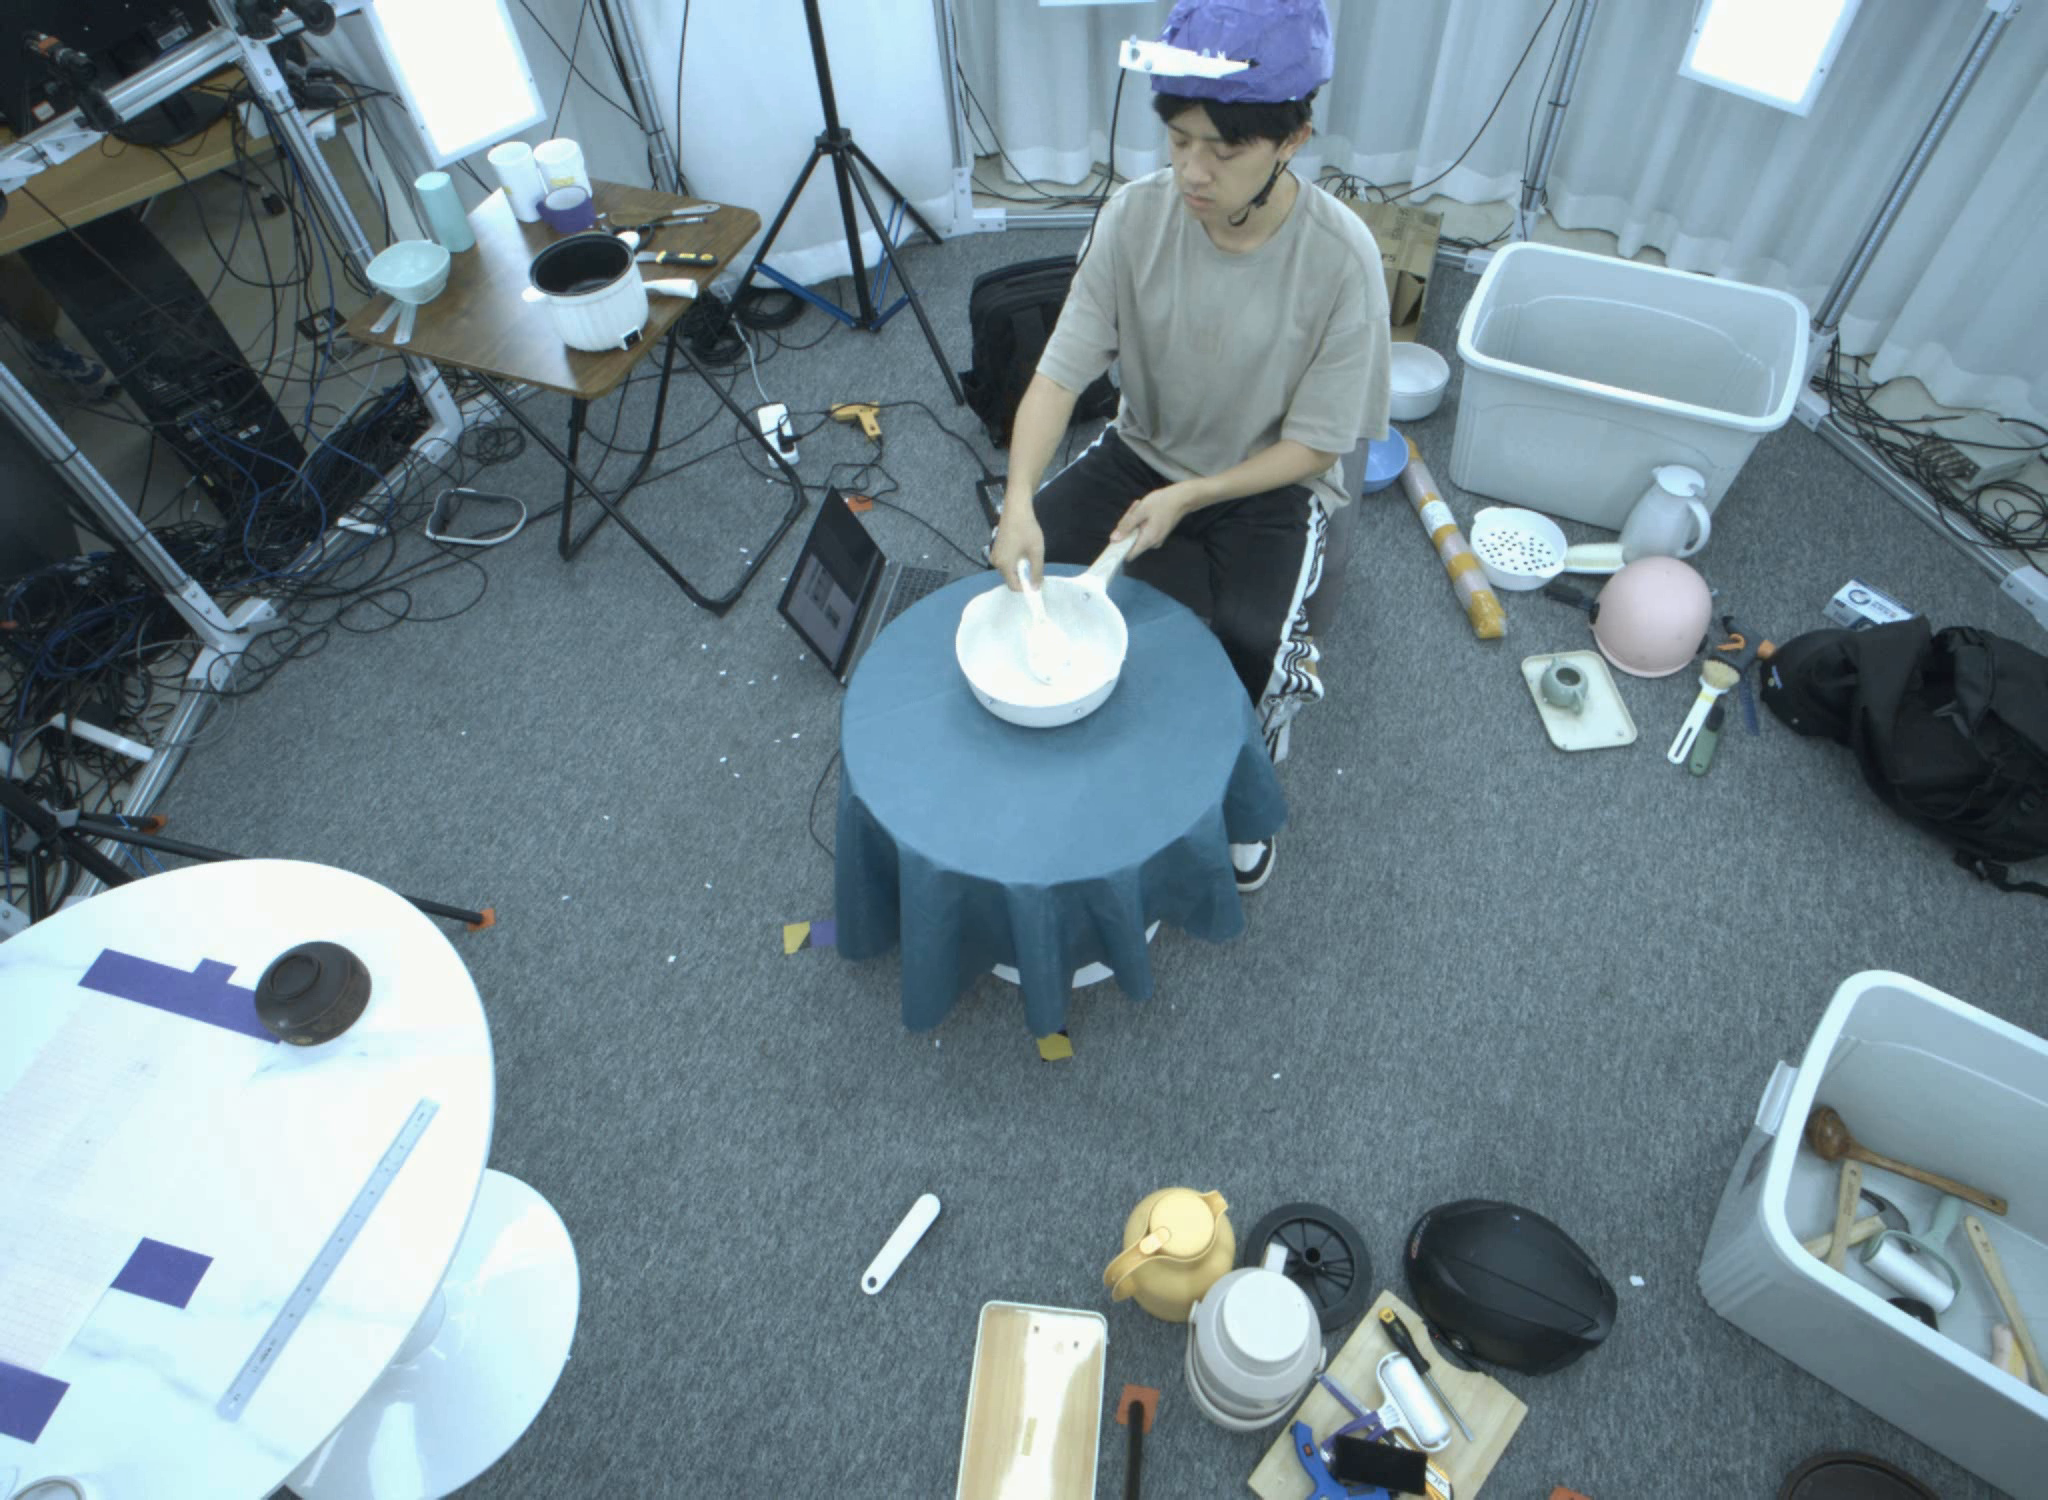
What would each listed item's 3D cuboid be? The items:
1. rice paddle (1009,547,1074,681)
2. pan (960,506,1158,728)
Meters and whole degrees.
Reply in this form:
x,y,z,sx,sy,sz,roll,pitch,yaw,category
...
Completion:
x,y,z,sx,sy,sz,roll,pitch,yaw,category
0.023,-0.202,1.838,0.069,0.029,0.206,-18,95,-8,rice paddle
0.085,-0.205,1.868,0.259,0.103,0.437,27,60,22,pan
